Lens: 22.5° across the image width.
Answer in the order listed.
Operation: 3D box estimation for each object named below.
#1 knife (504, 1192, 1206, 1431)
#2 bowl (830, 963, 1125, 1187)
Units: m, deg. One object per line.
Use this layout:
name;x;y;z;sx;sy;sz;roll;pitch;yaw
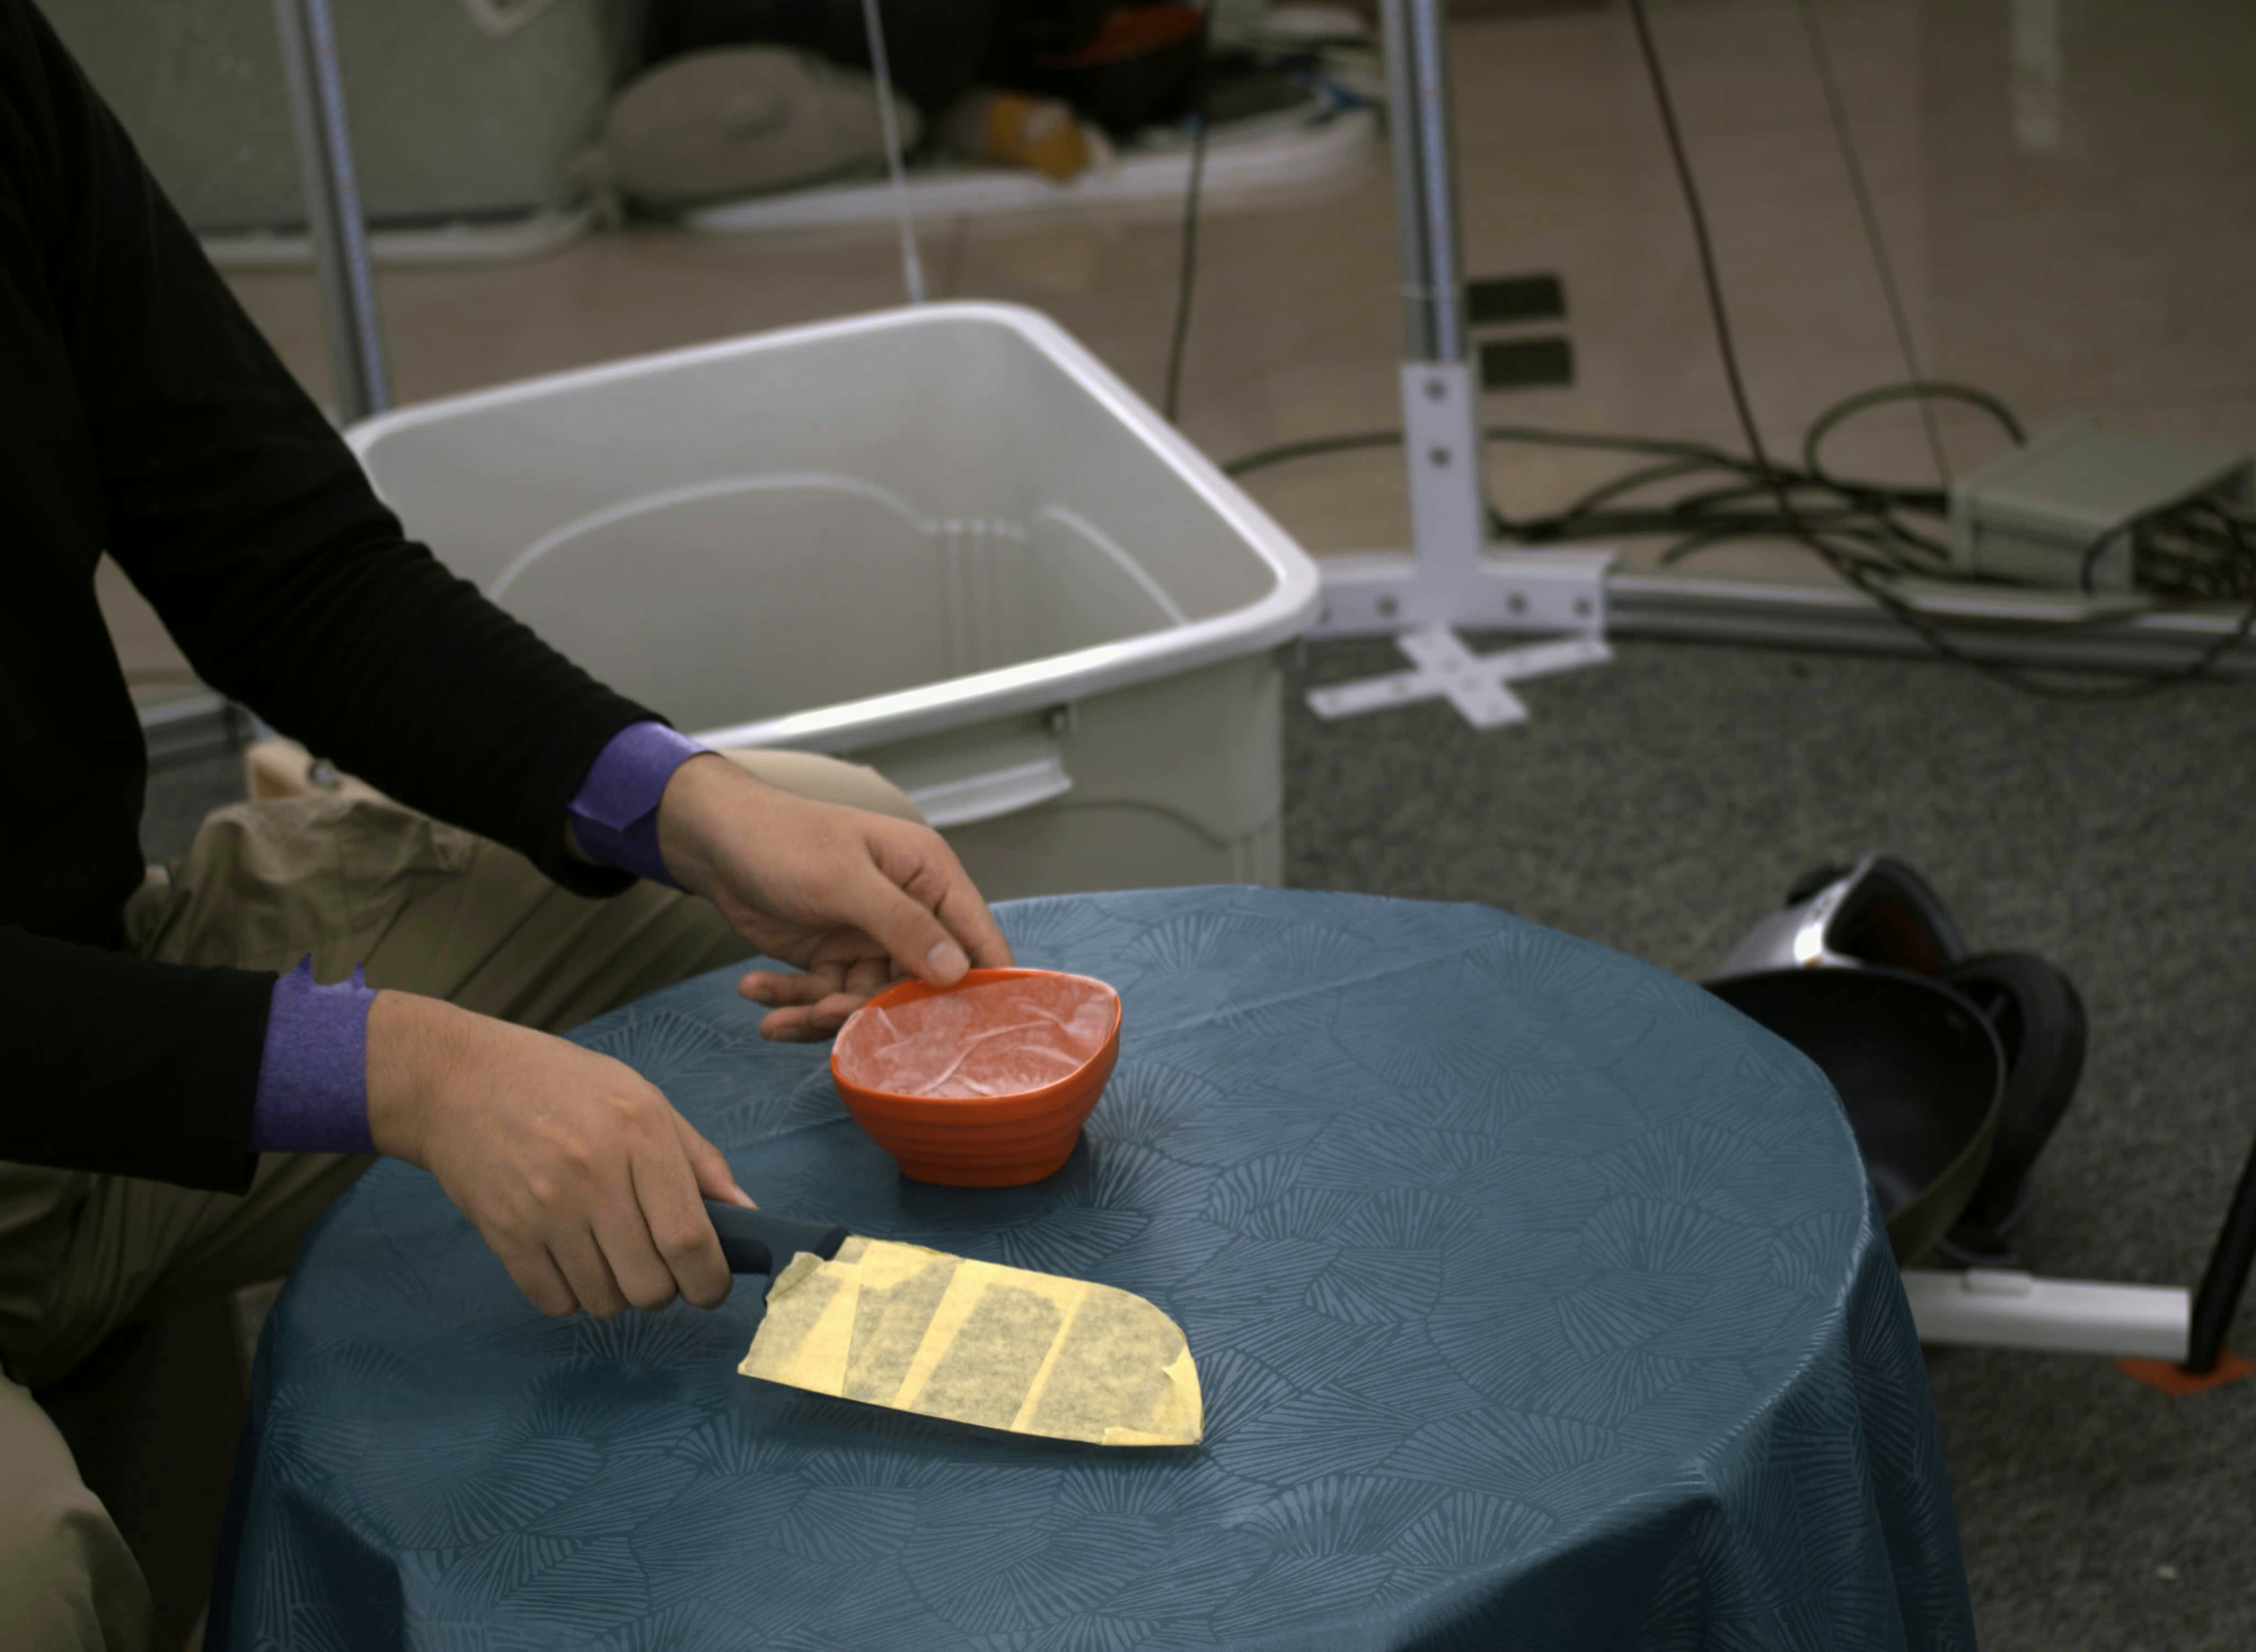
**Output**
knife;-0.103;0.173;2.033;0.288;0.028;0.080;10;45;23
bowl;-0.055;0.100;2.184;0.119;0.052;0.117;-4;27;2
